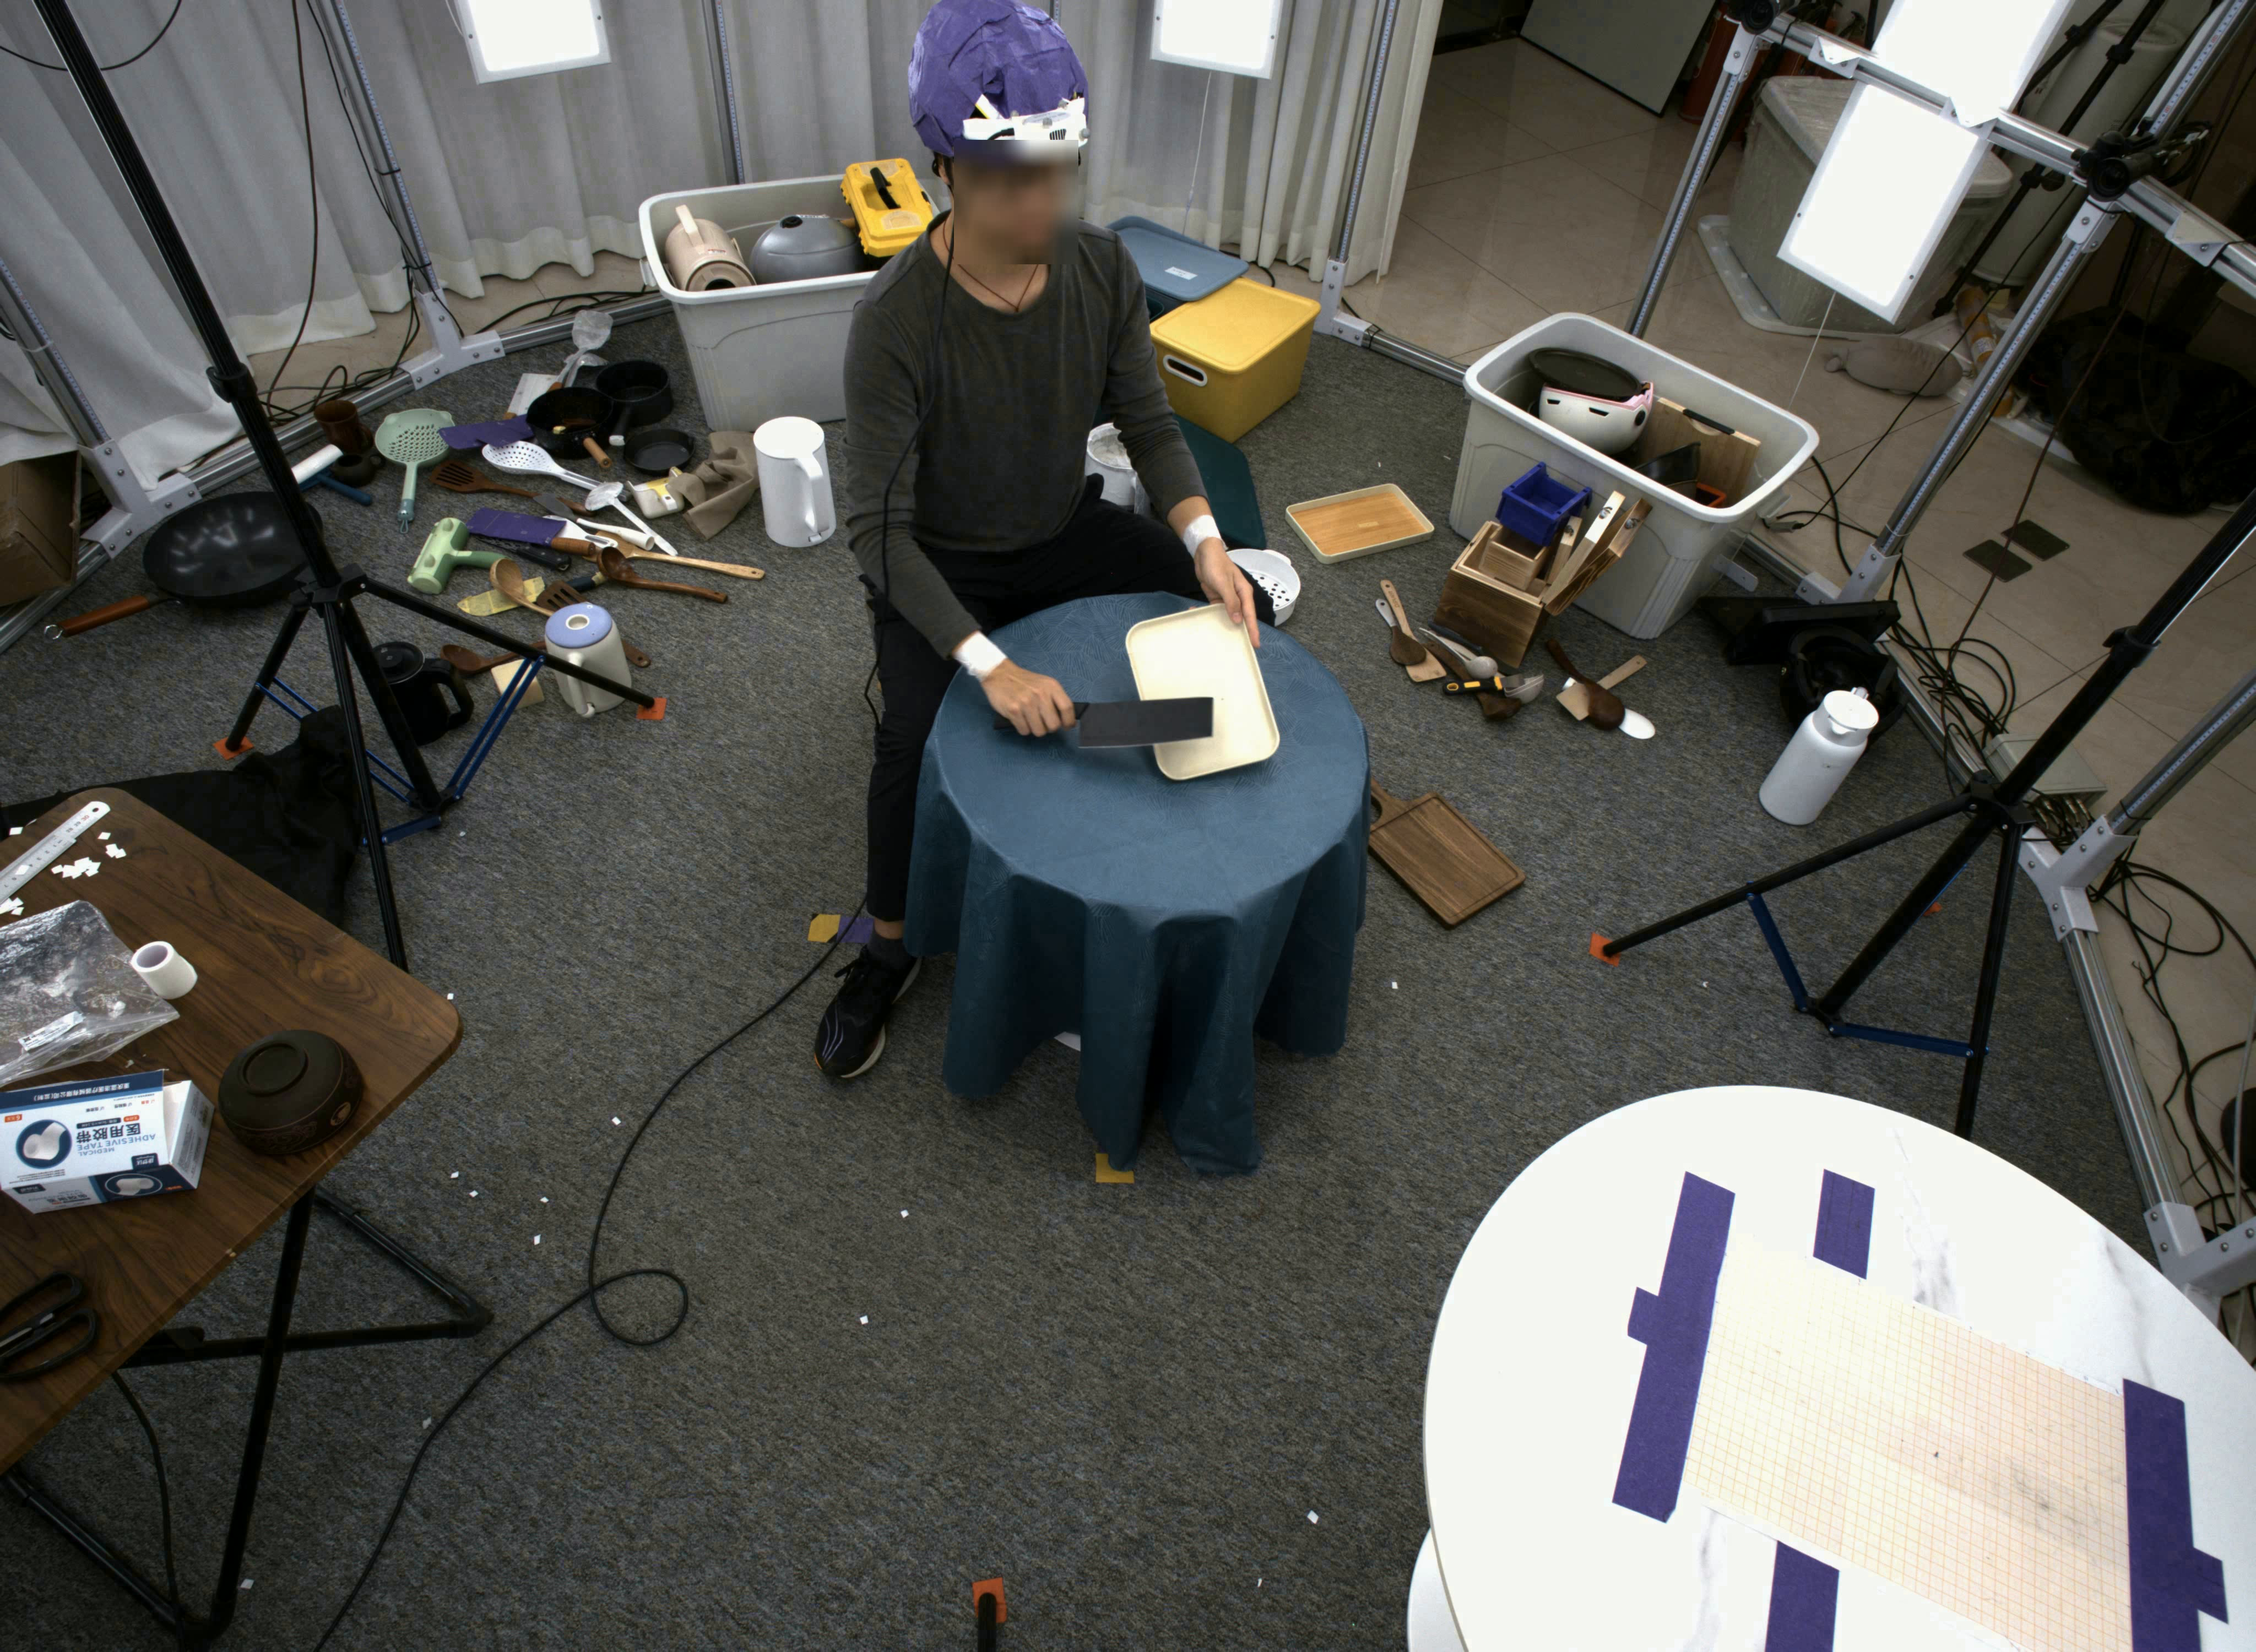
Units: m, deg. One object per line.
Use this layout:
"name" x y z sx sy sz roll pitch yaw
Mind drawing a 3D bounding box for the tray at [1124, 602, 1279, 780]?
"tray" 0.100 -0.185 1.759 0.171 0.017 0.243 -14 72 -1

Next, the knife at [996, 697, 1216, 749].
"knife" -0.031 -0.139 1.717 0.303 0.020 0.082 2 67 14
